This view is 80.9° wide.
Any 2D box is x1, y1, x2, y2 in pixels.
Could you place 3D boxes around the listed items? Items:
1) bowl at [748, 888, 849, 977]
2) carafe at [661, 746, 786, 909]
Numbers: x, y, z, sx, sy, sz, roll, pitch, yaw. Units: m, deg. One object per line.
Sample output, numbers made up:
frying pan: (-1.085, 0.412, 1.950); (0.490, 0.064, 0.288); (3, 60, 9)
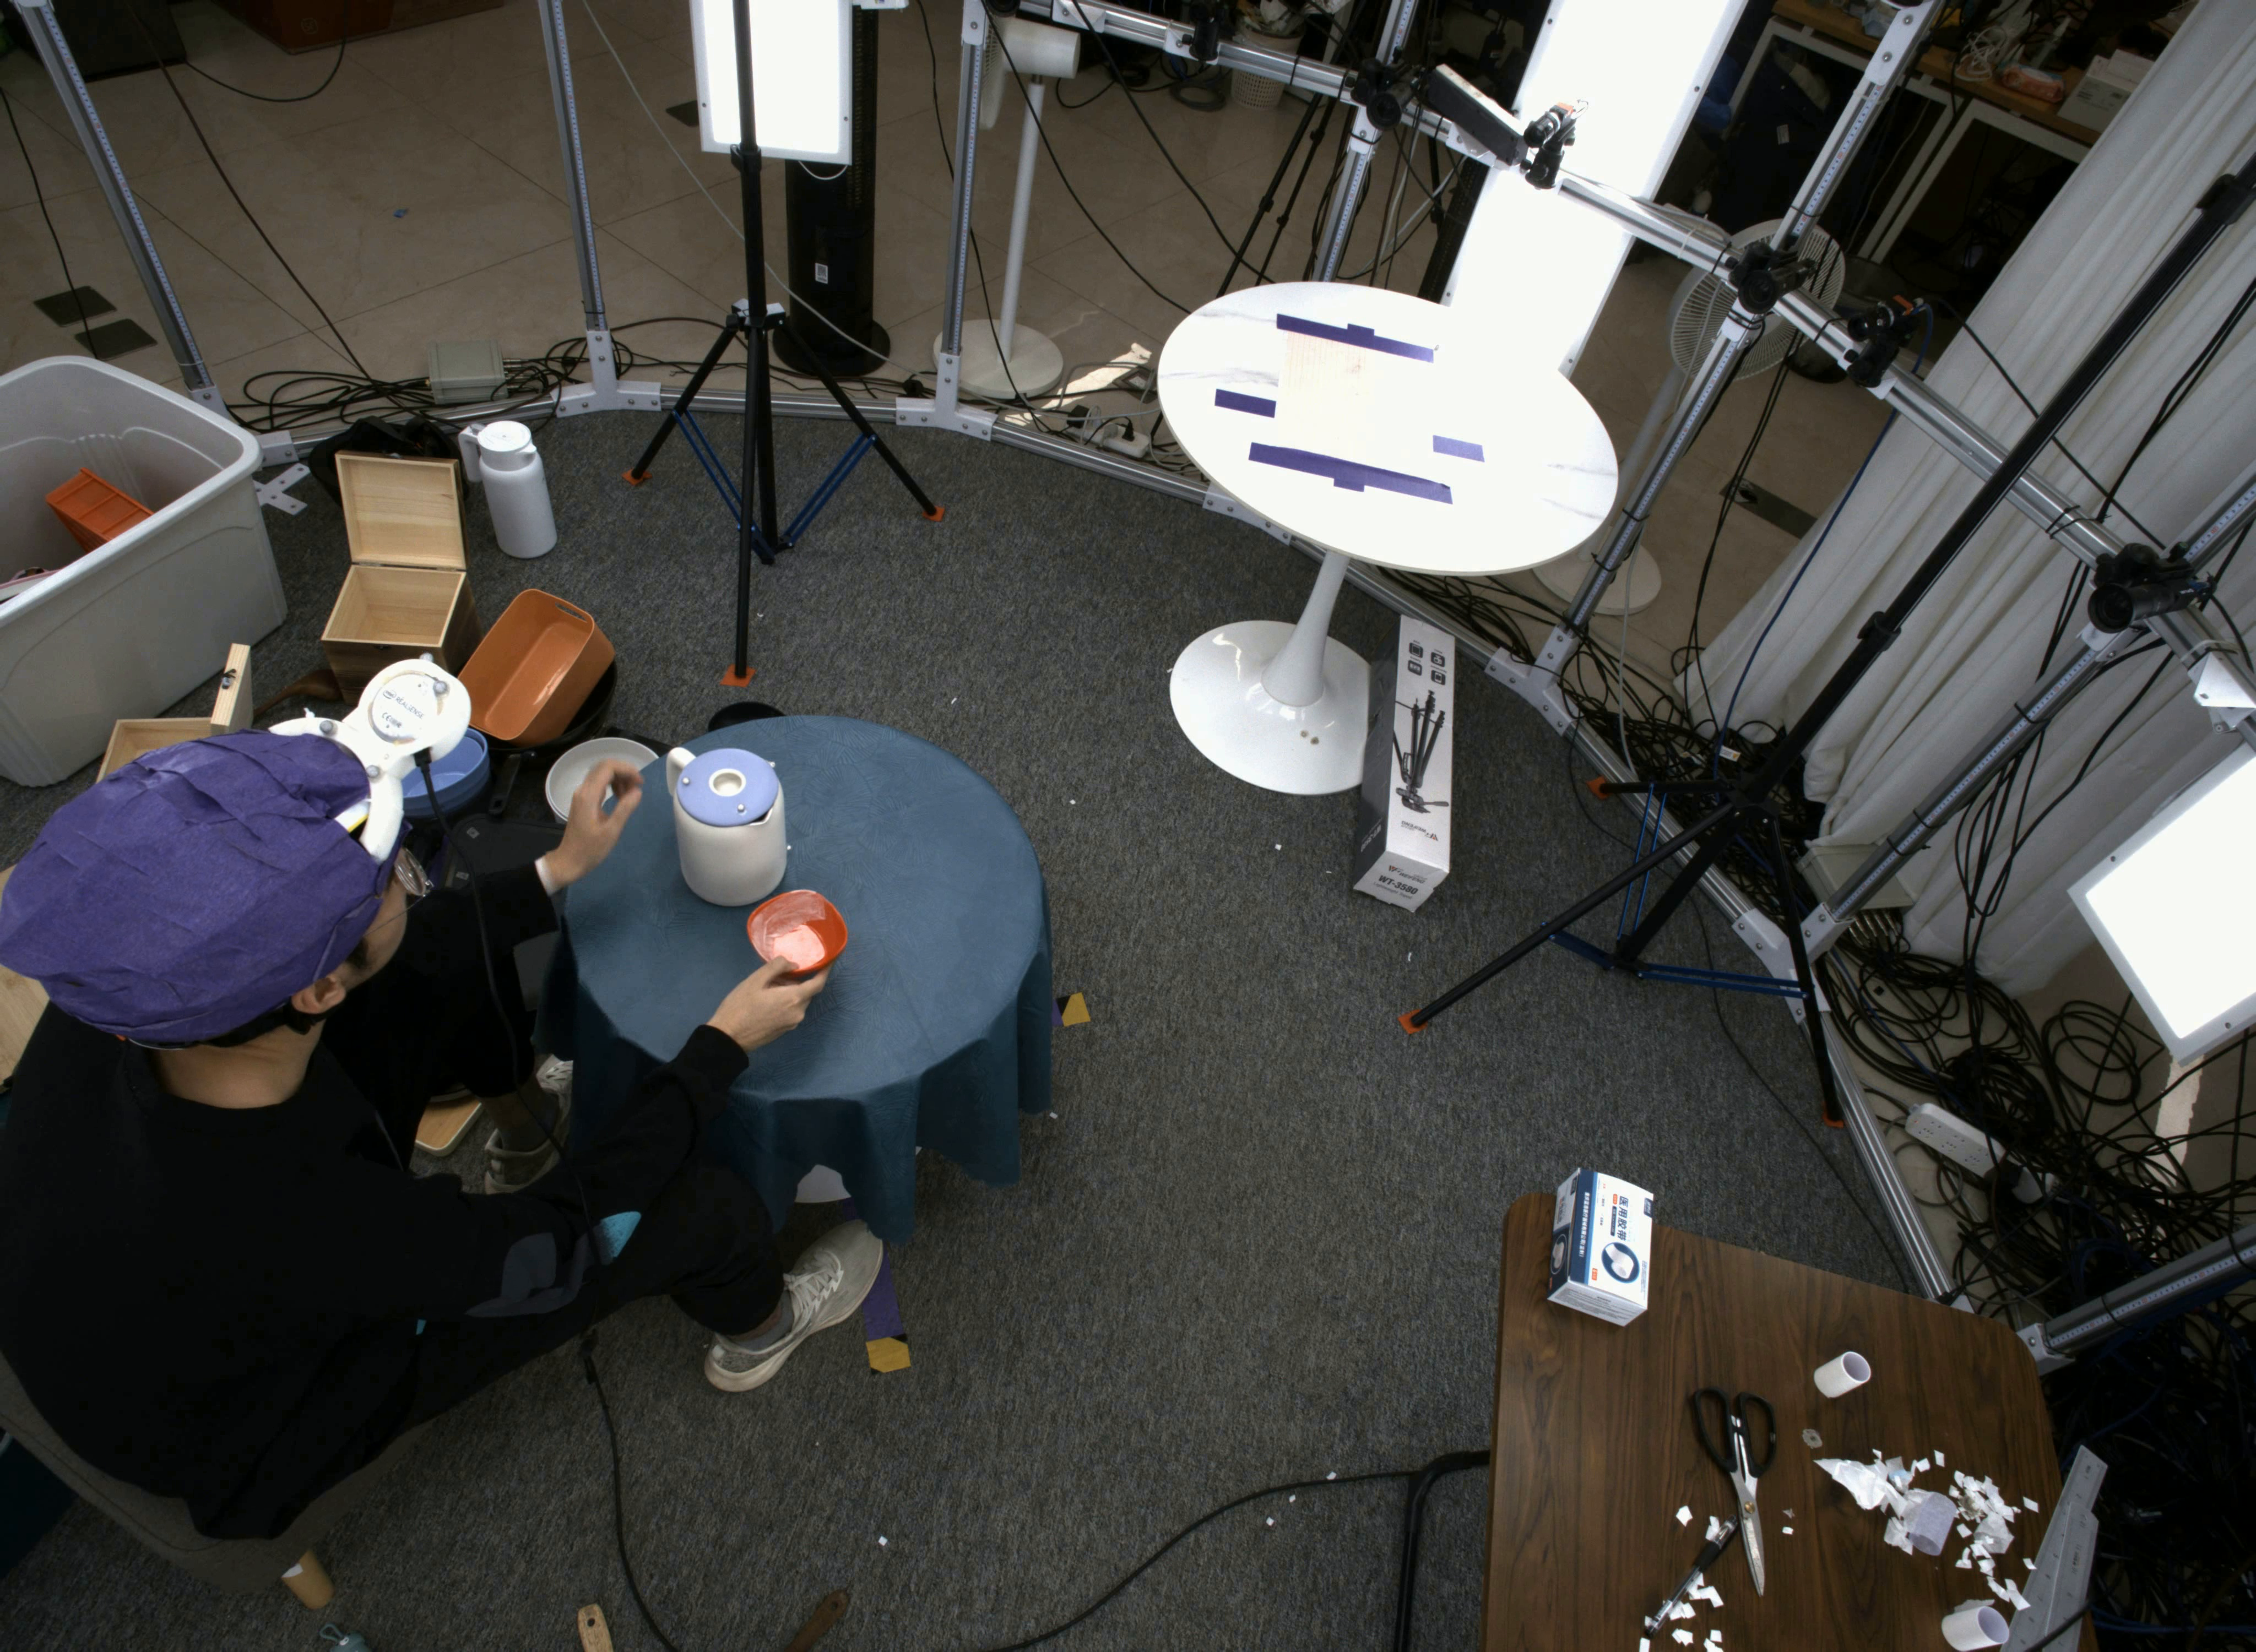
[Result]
bowl: (-0.397, 0.134, 1.555); (0.119, 0.052, 0.117); (12, 50, -13)
carafe: (-0.512, -0.012, 1.606); (0.187, 0.187, 0.132); (35, 52, 17)
